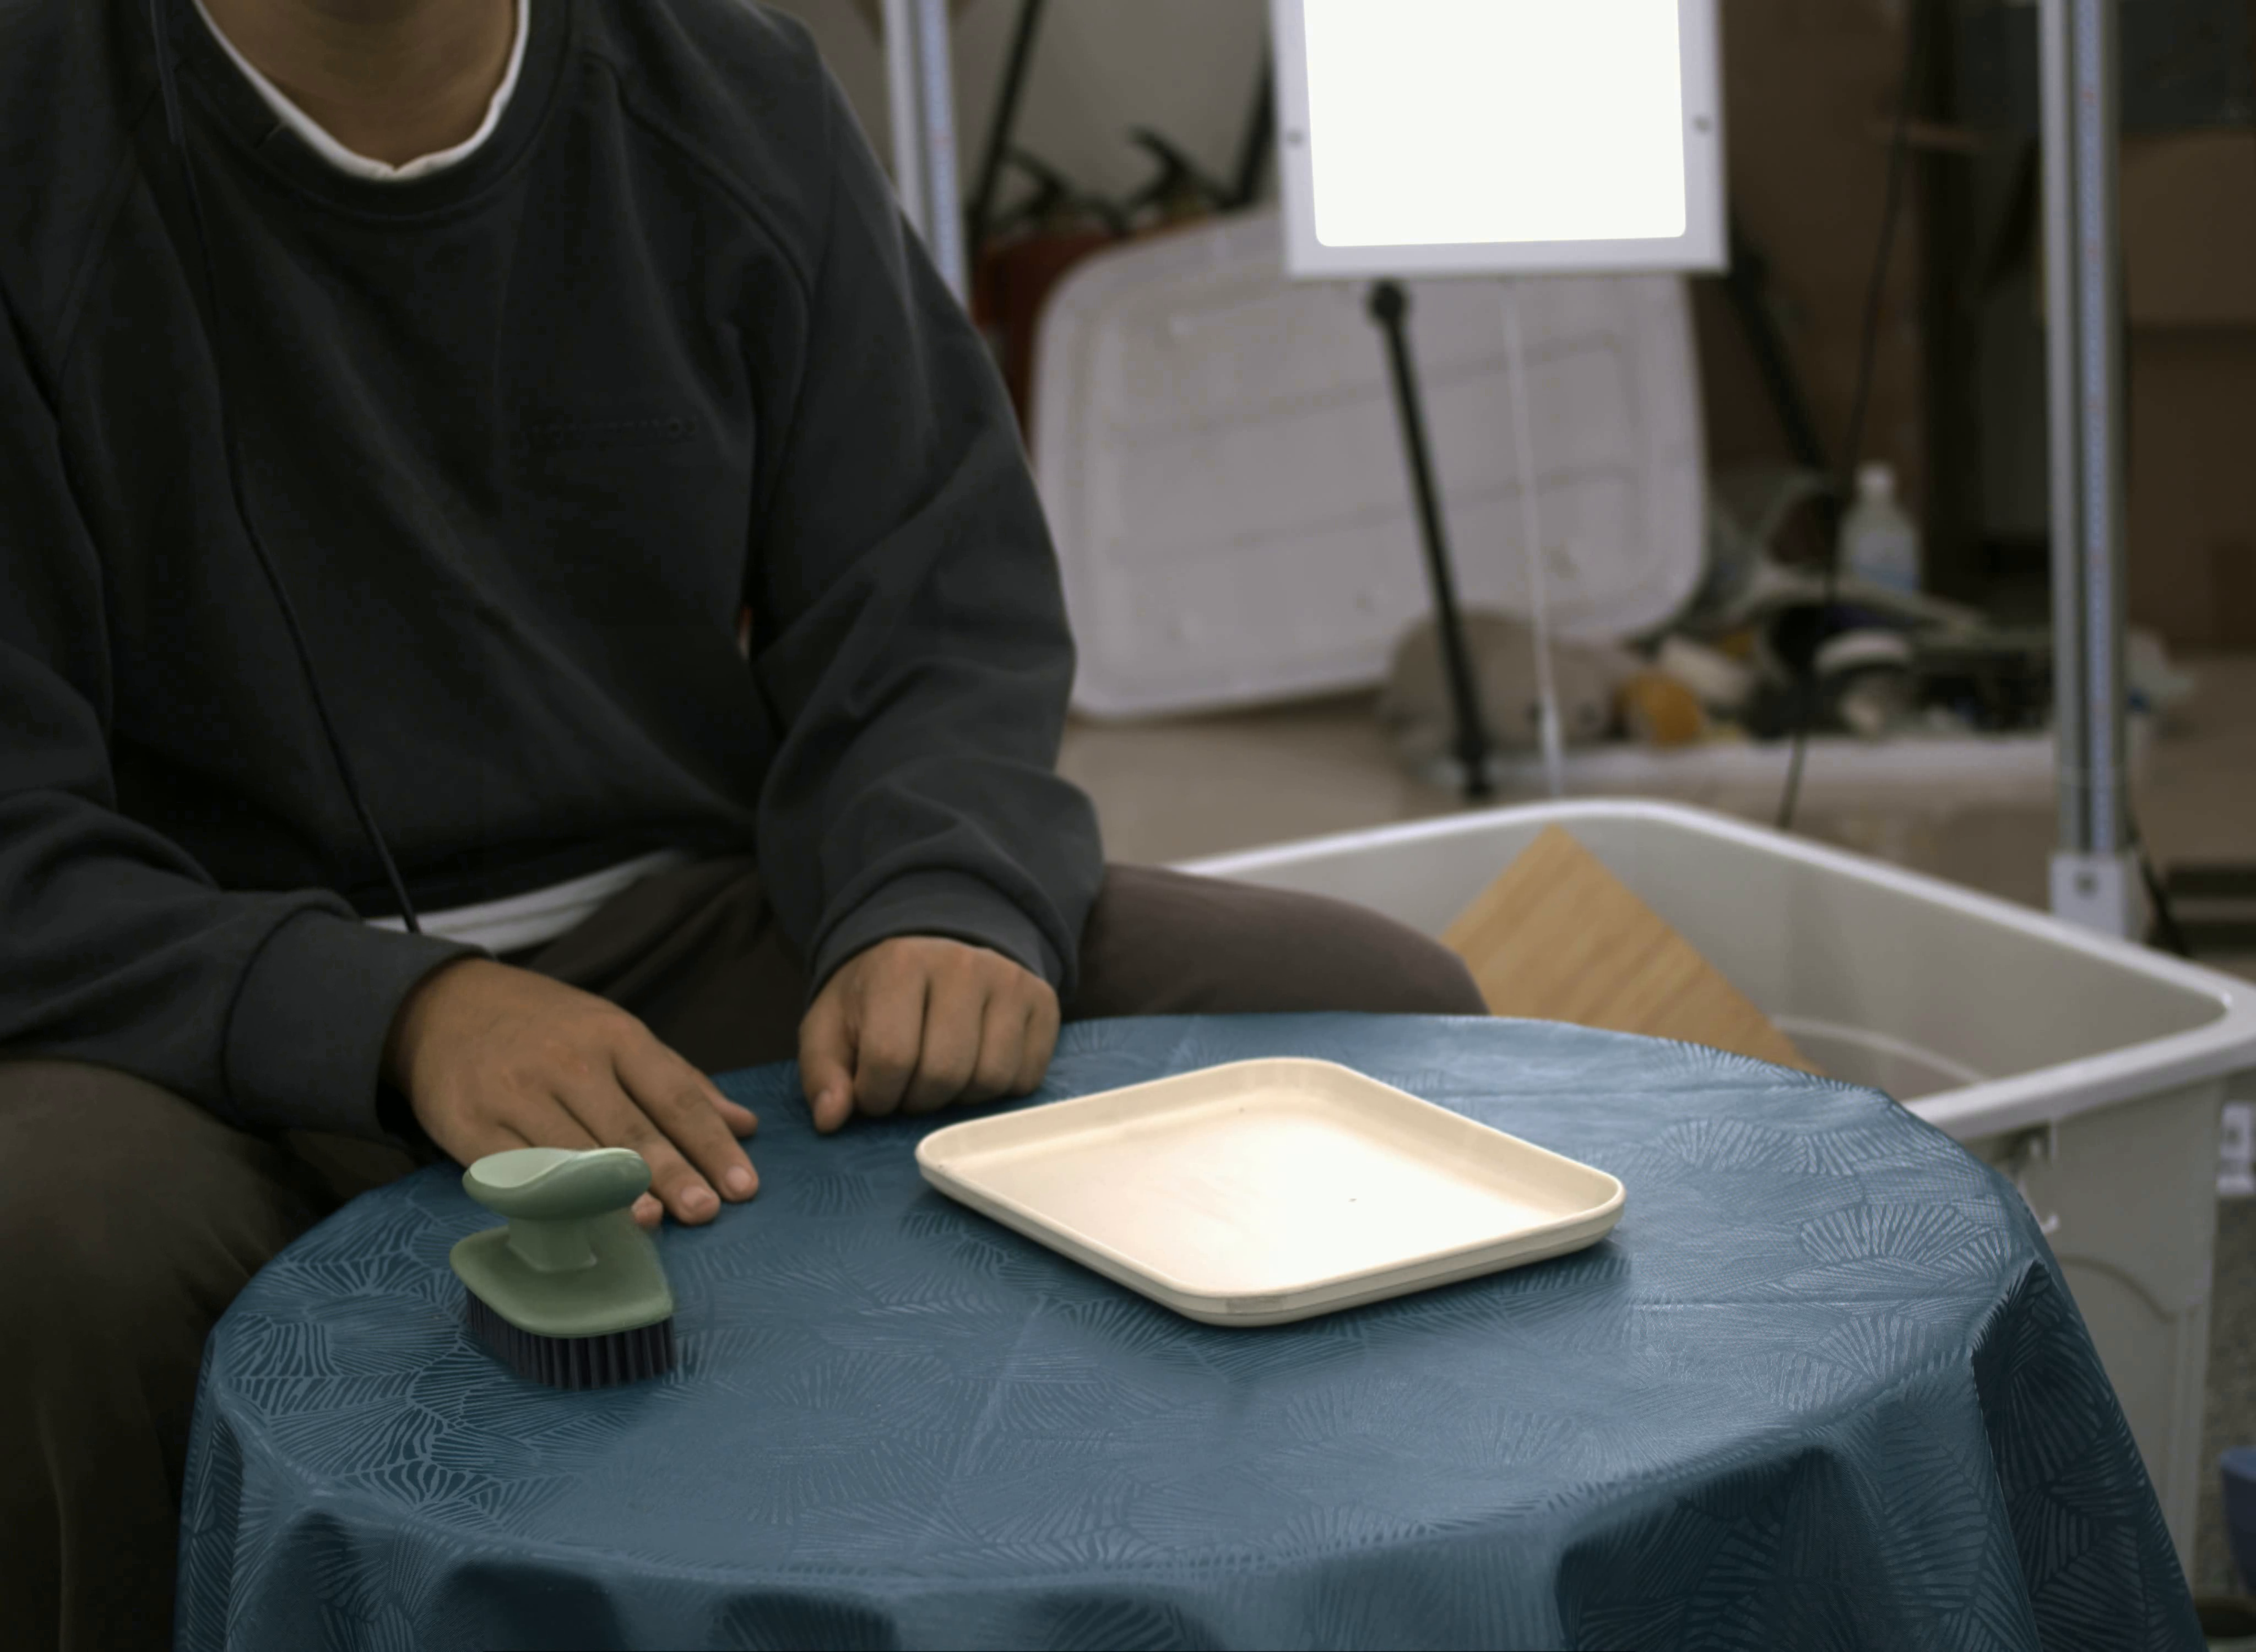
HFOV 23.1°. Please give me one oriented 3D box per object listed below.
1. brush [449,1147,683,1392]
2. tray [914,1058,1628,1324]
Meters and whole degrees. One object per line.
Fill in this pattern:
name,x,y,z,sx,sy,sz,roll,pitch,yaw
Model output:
brush,-0.182,0.142,1.789,0.058,0.076,0.125,-9,0,-22
tray,0.046,0.122,1.861,0.168,0.017,0.244,-11,14,-25
